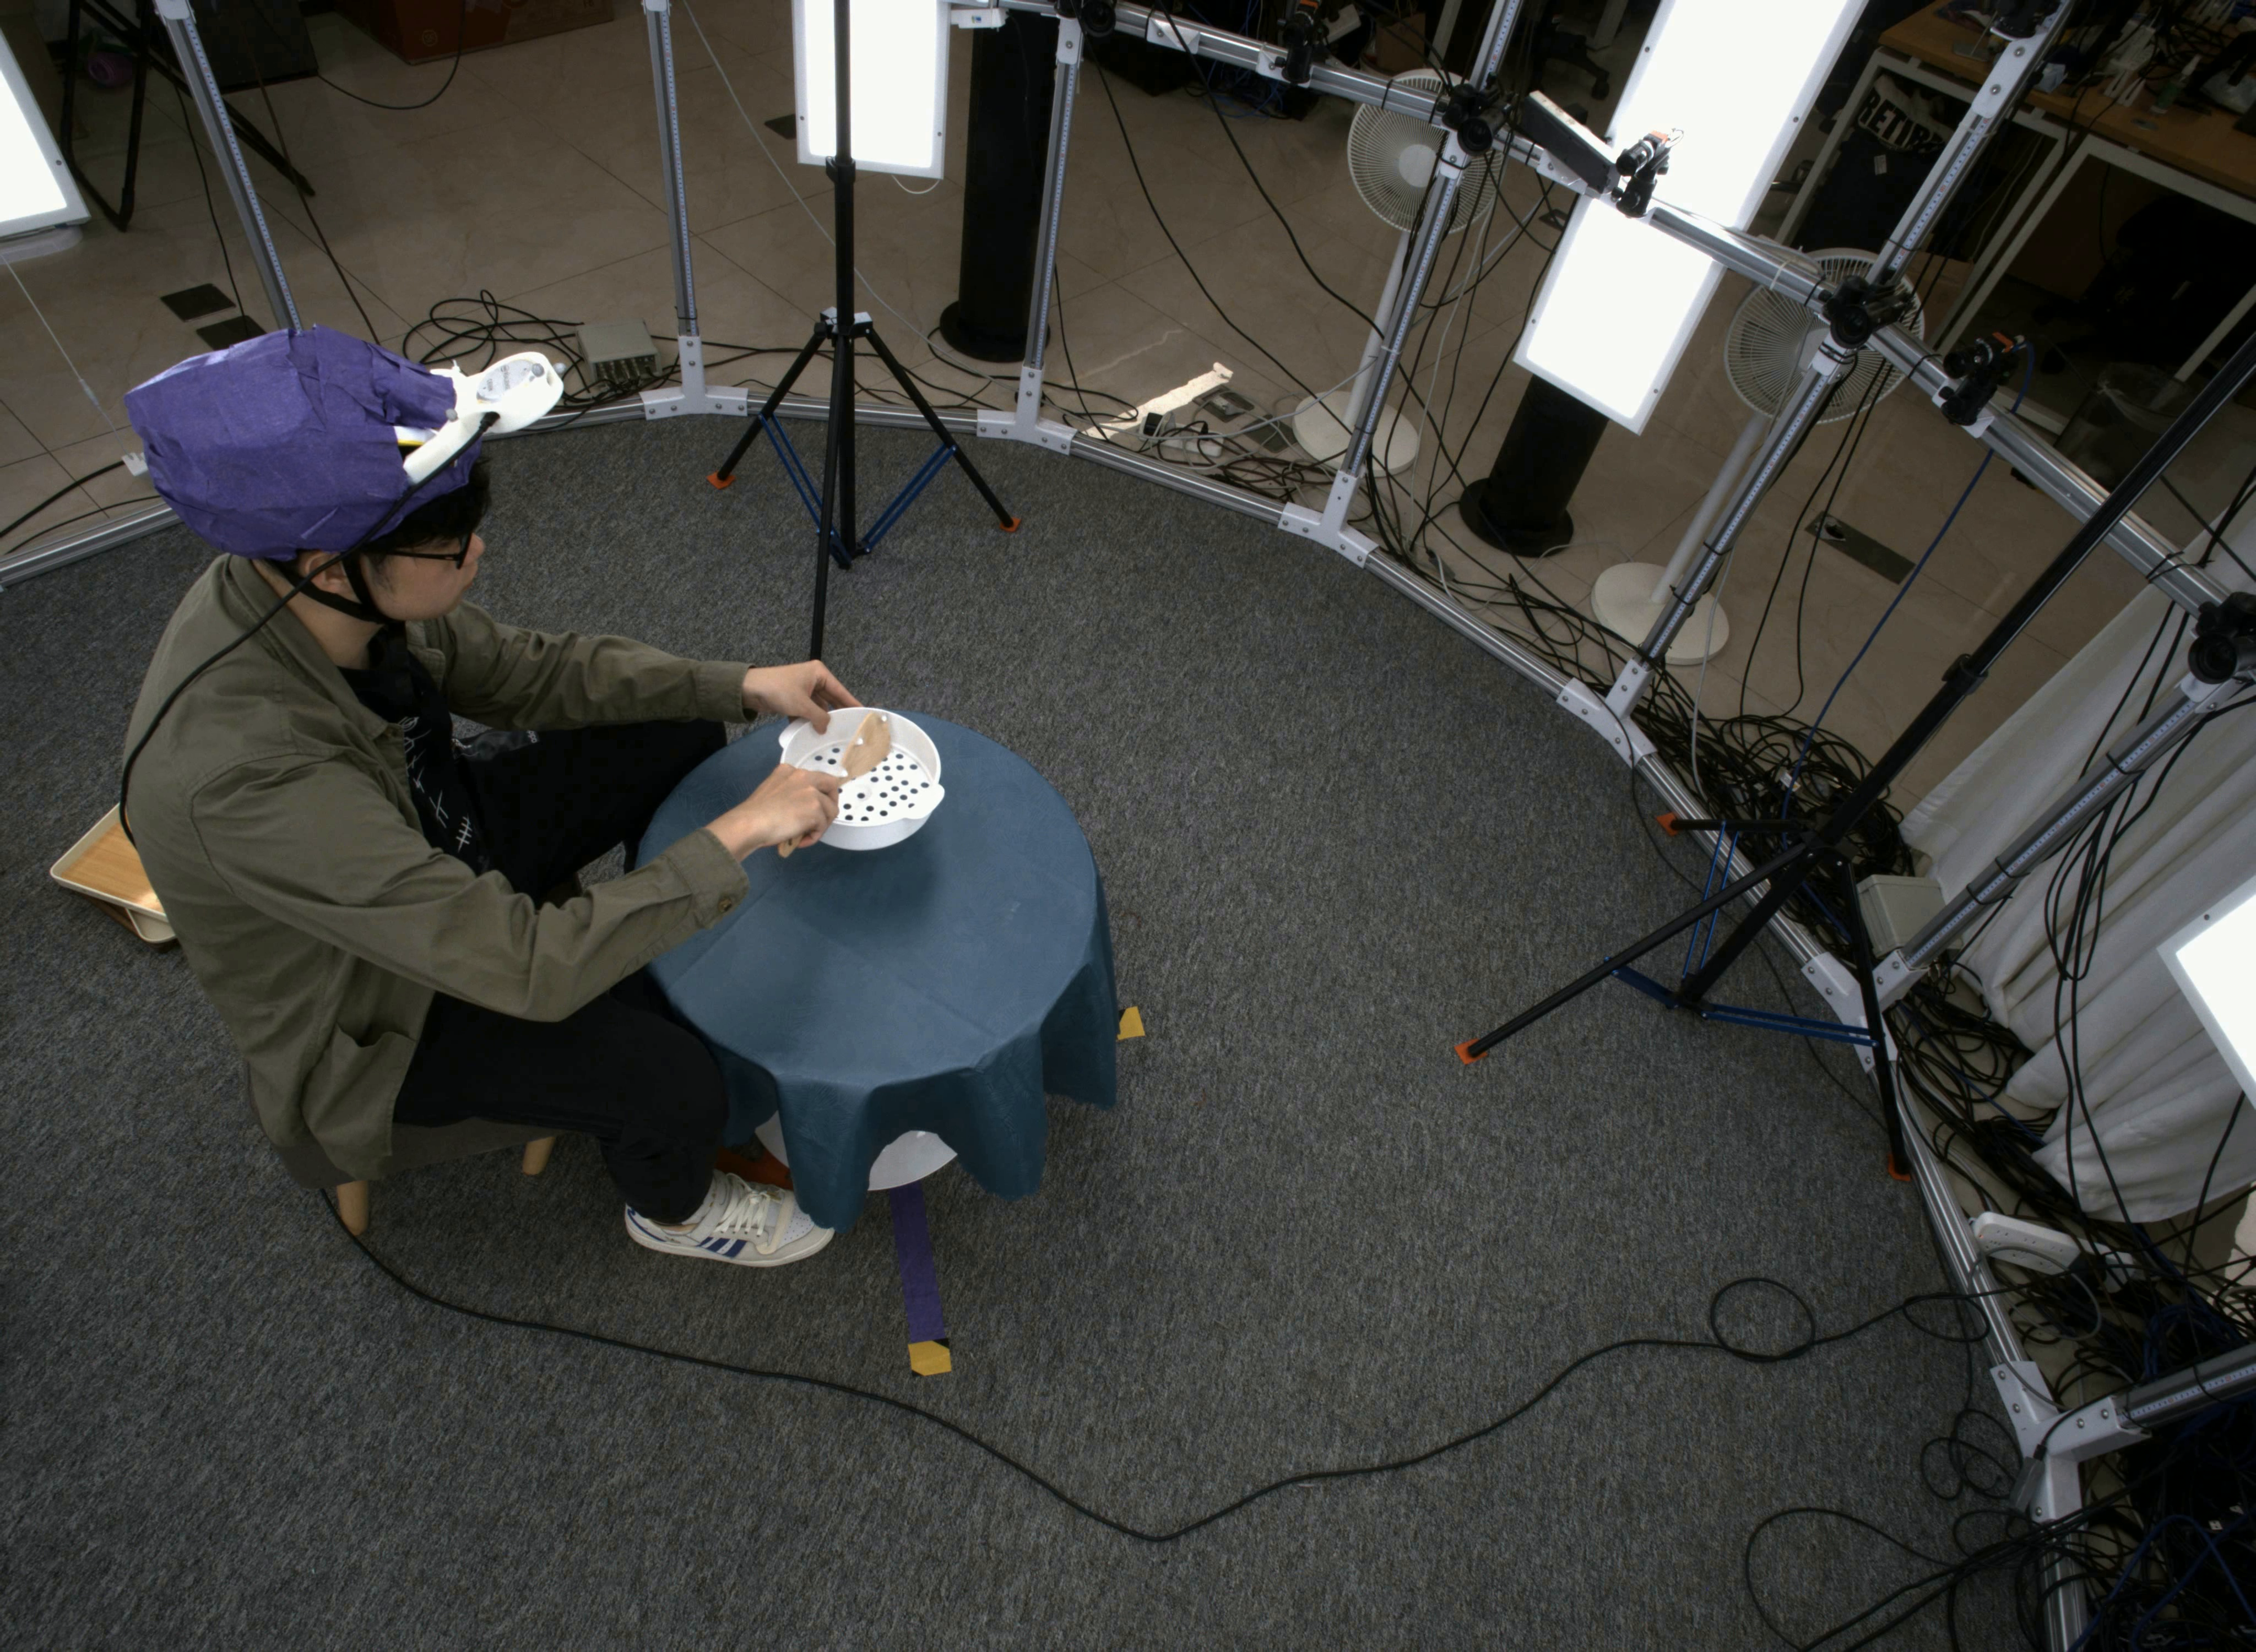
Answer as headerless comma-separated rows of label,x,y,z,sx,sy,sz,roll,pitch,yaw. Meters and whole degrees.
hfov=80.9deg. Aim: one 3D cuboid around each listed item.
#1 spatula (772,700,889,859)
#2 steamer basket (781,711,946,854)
spatula,-0.352,-0.054,1.549,0.016,0.082,0.323,6,31,9
steamer basket,-0.340,-0.056,1.670,0.226,0.071,0.201,28,51,12
